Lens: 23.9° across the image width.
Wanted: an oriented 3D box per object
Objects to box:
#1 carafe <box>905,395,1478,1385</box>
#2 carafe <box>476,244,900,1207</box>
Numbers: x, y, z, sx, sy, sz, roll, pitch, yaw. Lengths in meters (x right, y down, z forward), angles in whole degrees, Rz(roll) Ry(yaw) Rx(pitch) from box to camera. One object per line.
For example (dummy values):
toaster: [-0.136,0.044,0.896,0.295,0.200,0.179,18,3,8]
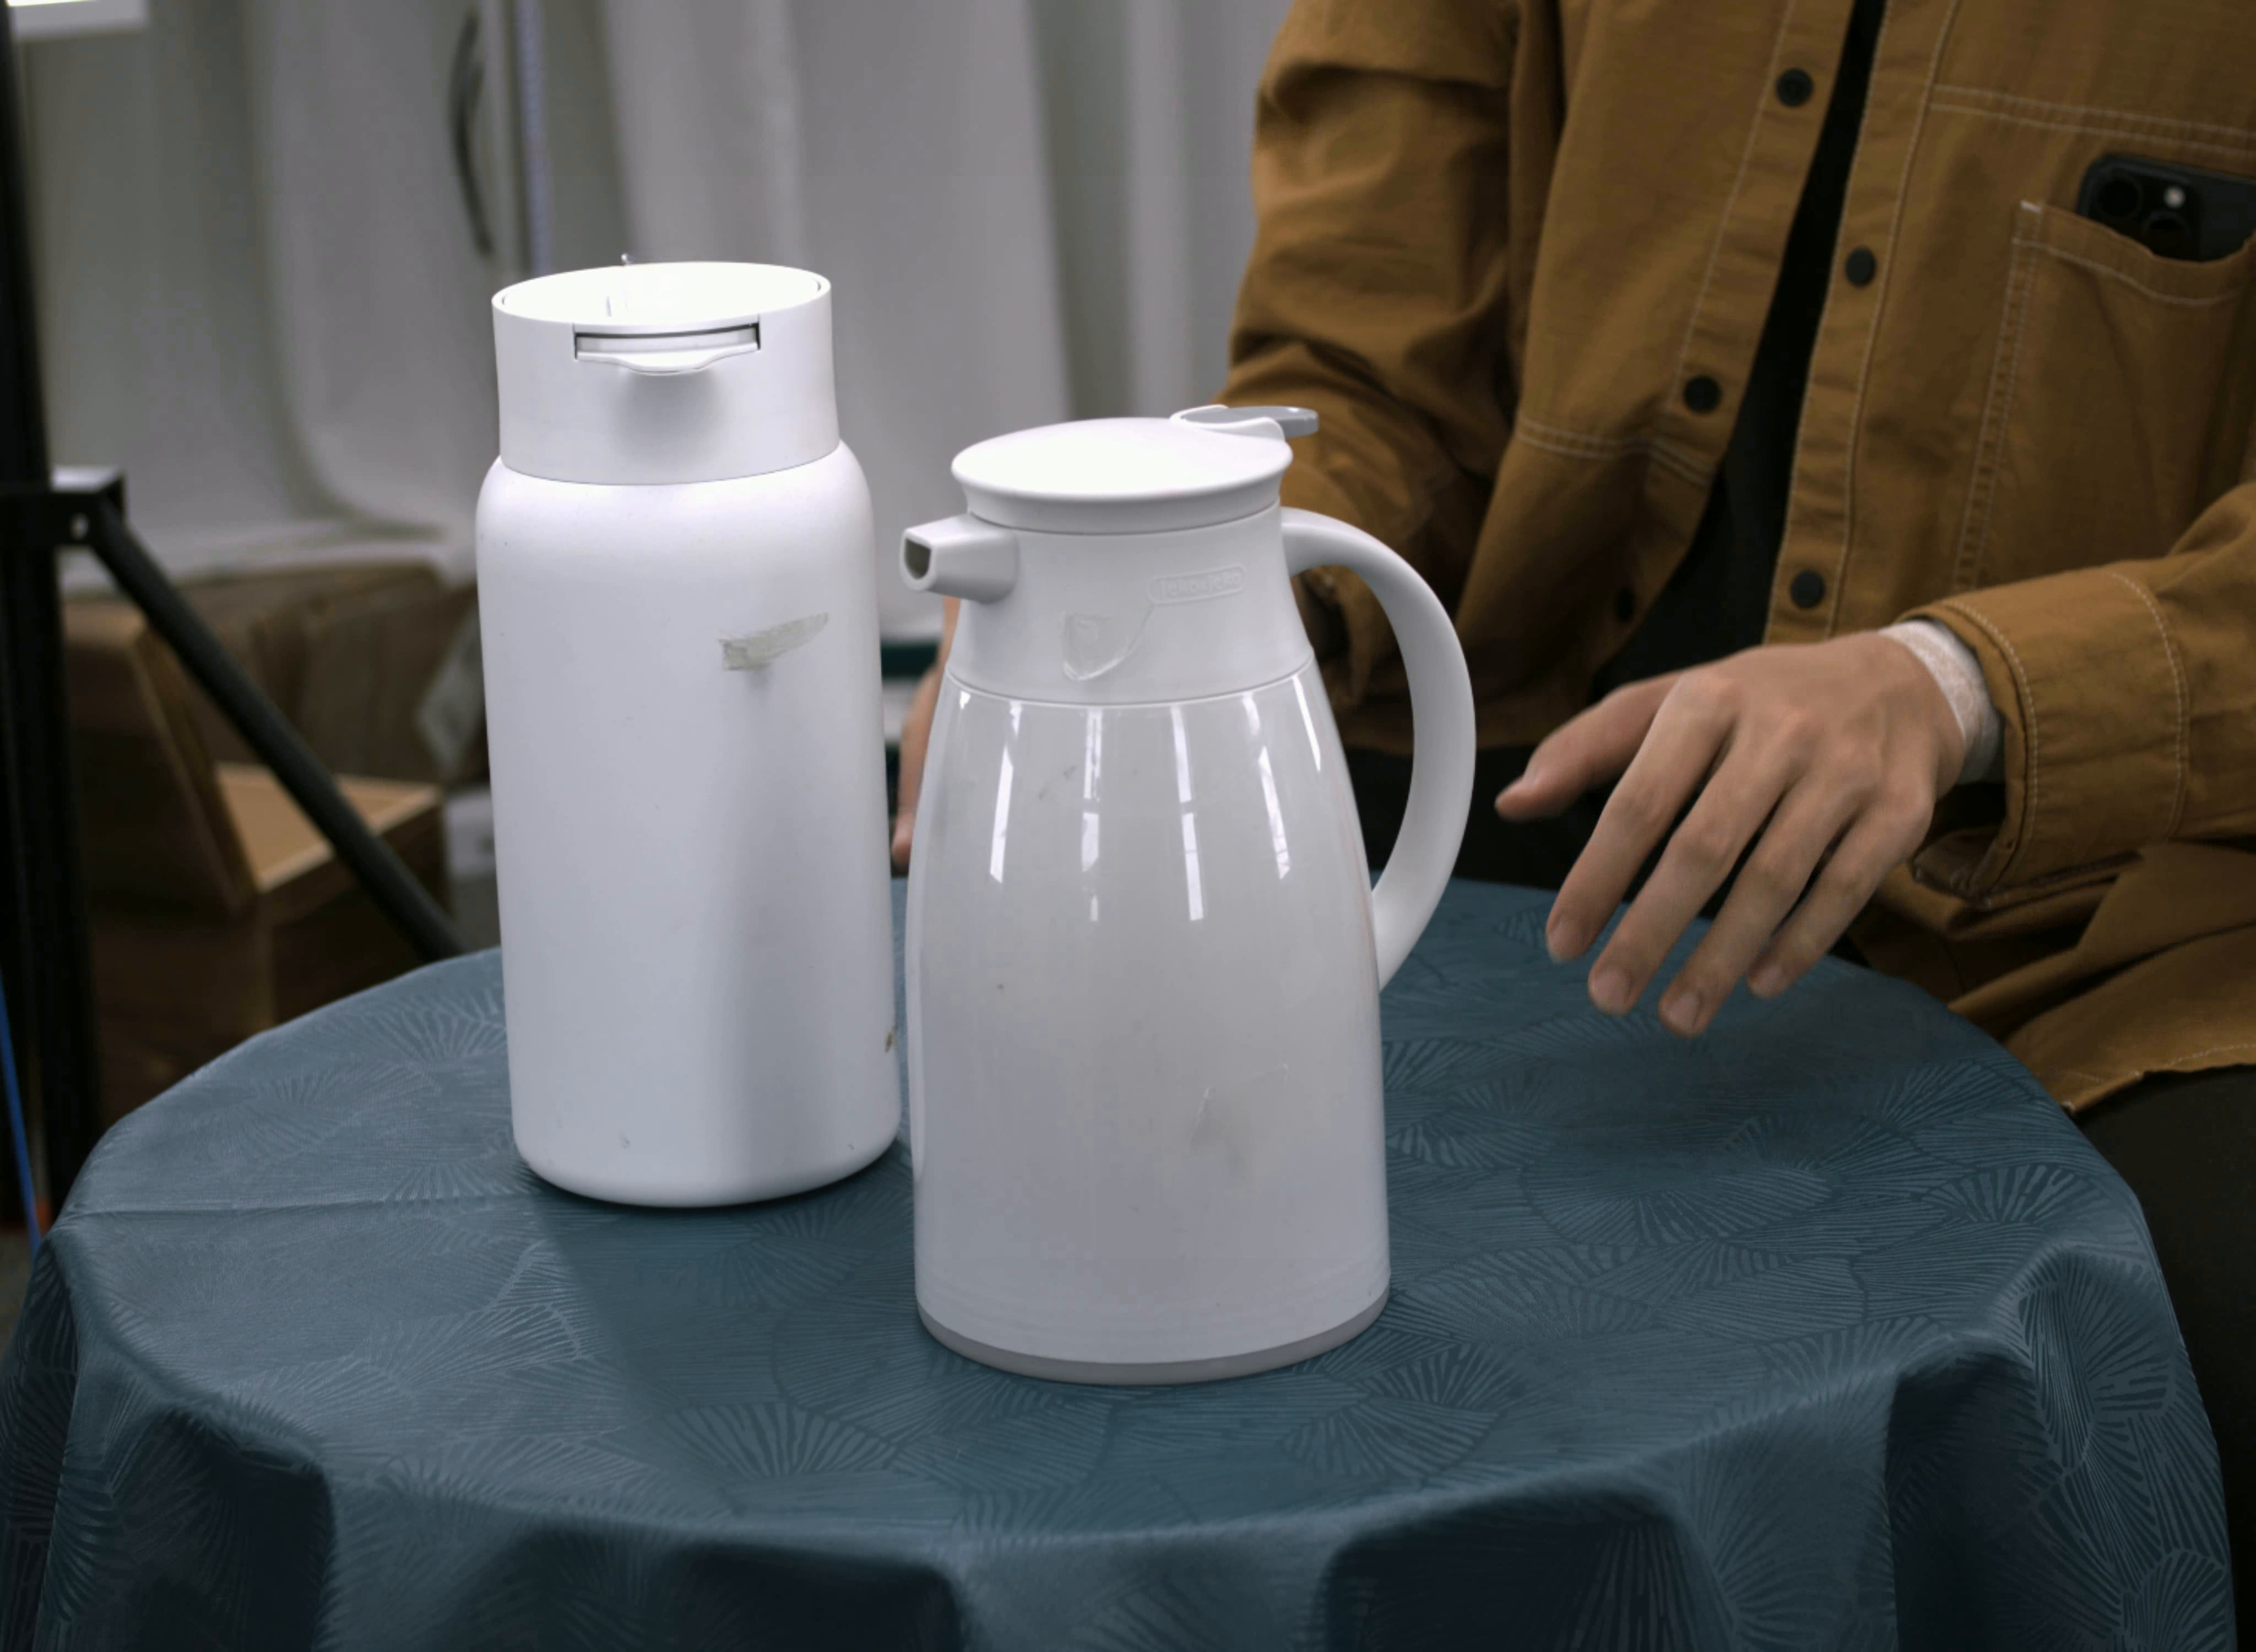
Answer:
carafe: [0.019,0.009,1.447,0.164,0.248,0.135,-9,16,-26]
carafe: [-0.133,-0.034,1.590,0.123,0.269,0.174,-6,15,-5]
